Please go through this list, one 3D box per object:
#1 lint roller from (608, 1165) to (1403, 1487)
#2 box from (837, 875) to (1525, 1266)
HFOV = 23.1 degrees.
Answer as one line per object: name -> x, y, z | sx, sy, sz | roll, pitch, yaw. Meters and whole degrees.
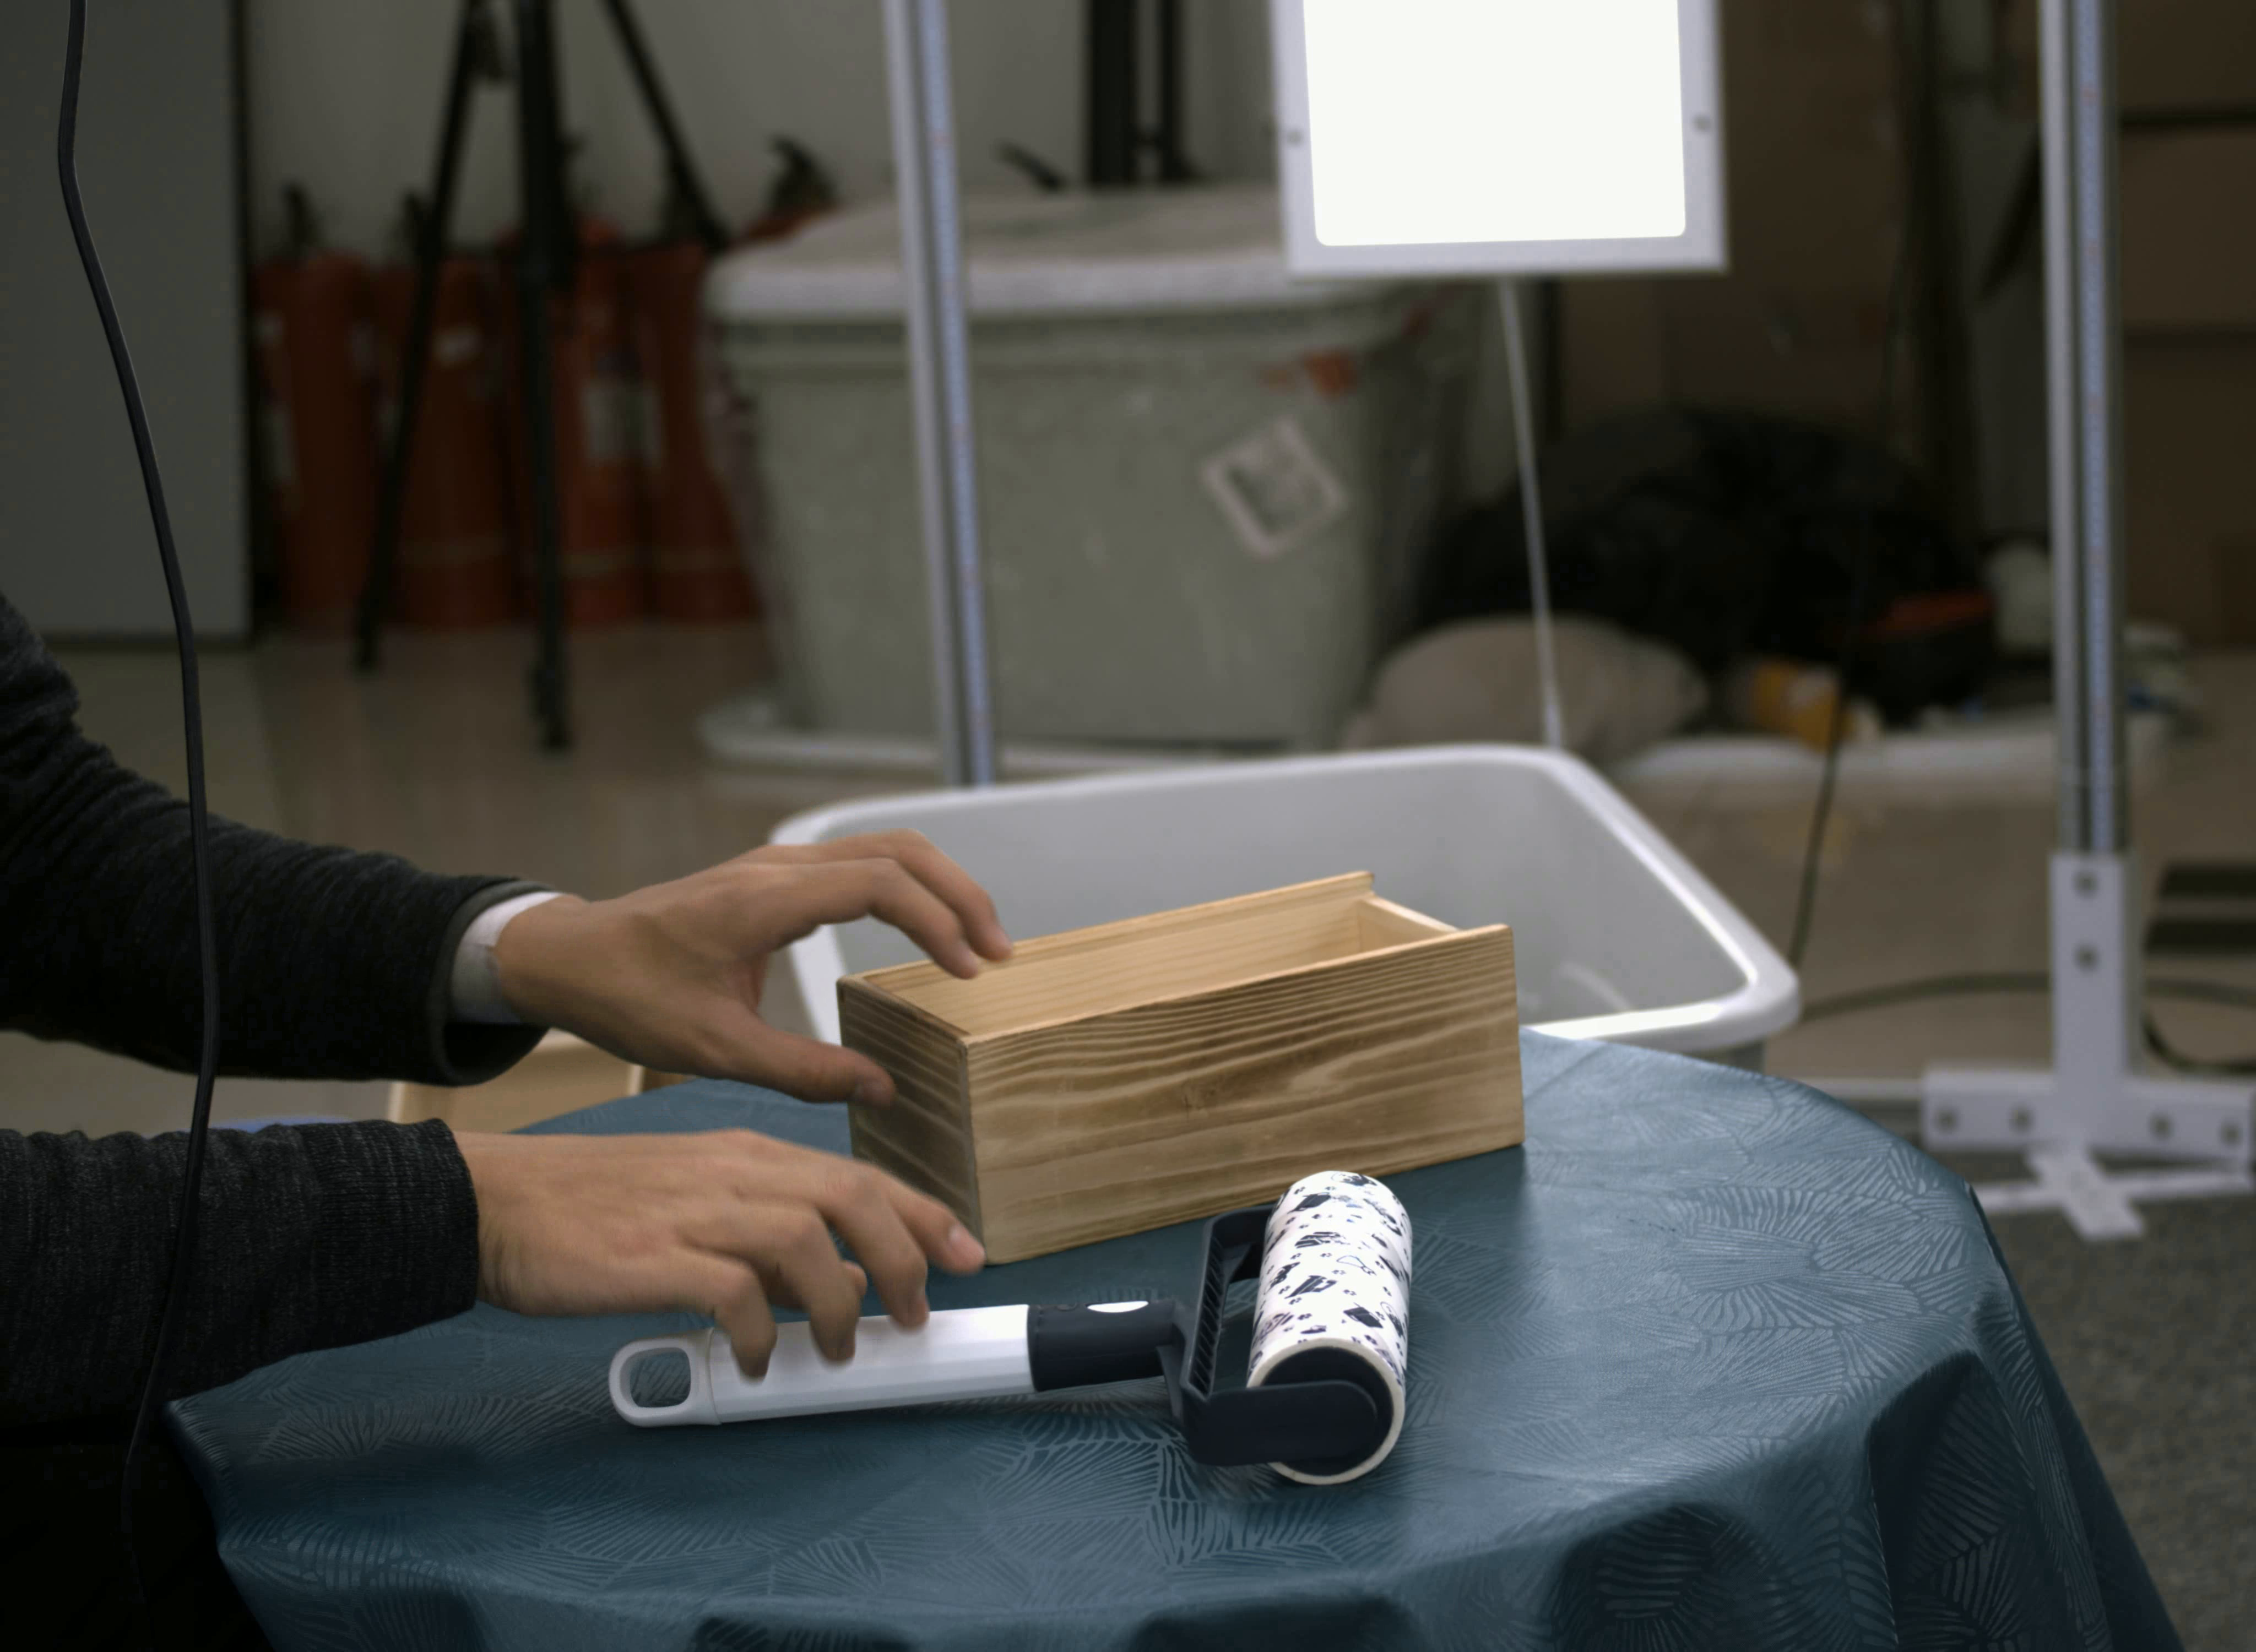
lint roller -> -0.038, 0.159, 1.688 | 0.247, 0.050, 0.175 | -5, 15, 6
box -> 0.019, 0.082, 1.906 | 0.207, 0.080, 0.109 | -11, 15, -23
